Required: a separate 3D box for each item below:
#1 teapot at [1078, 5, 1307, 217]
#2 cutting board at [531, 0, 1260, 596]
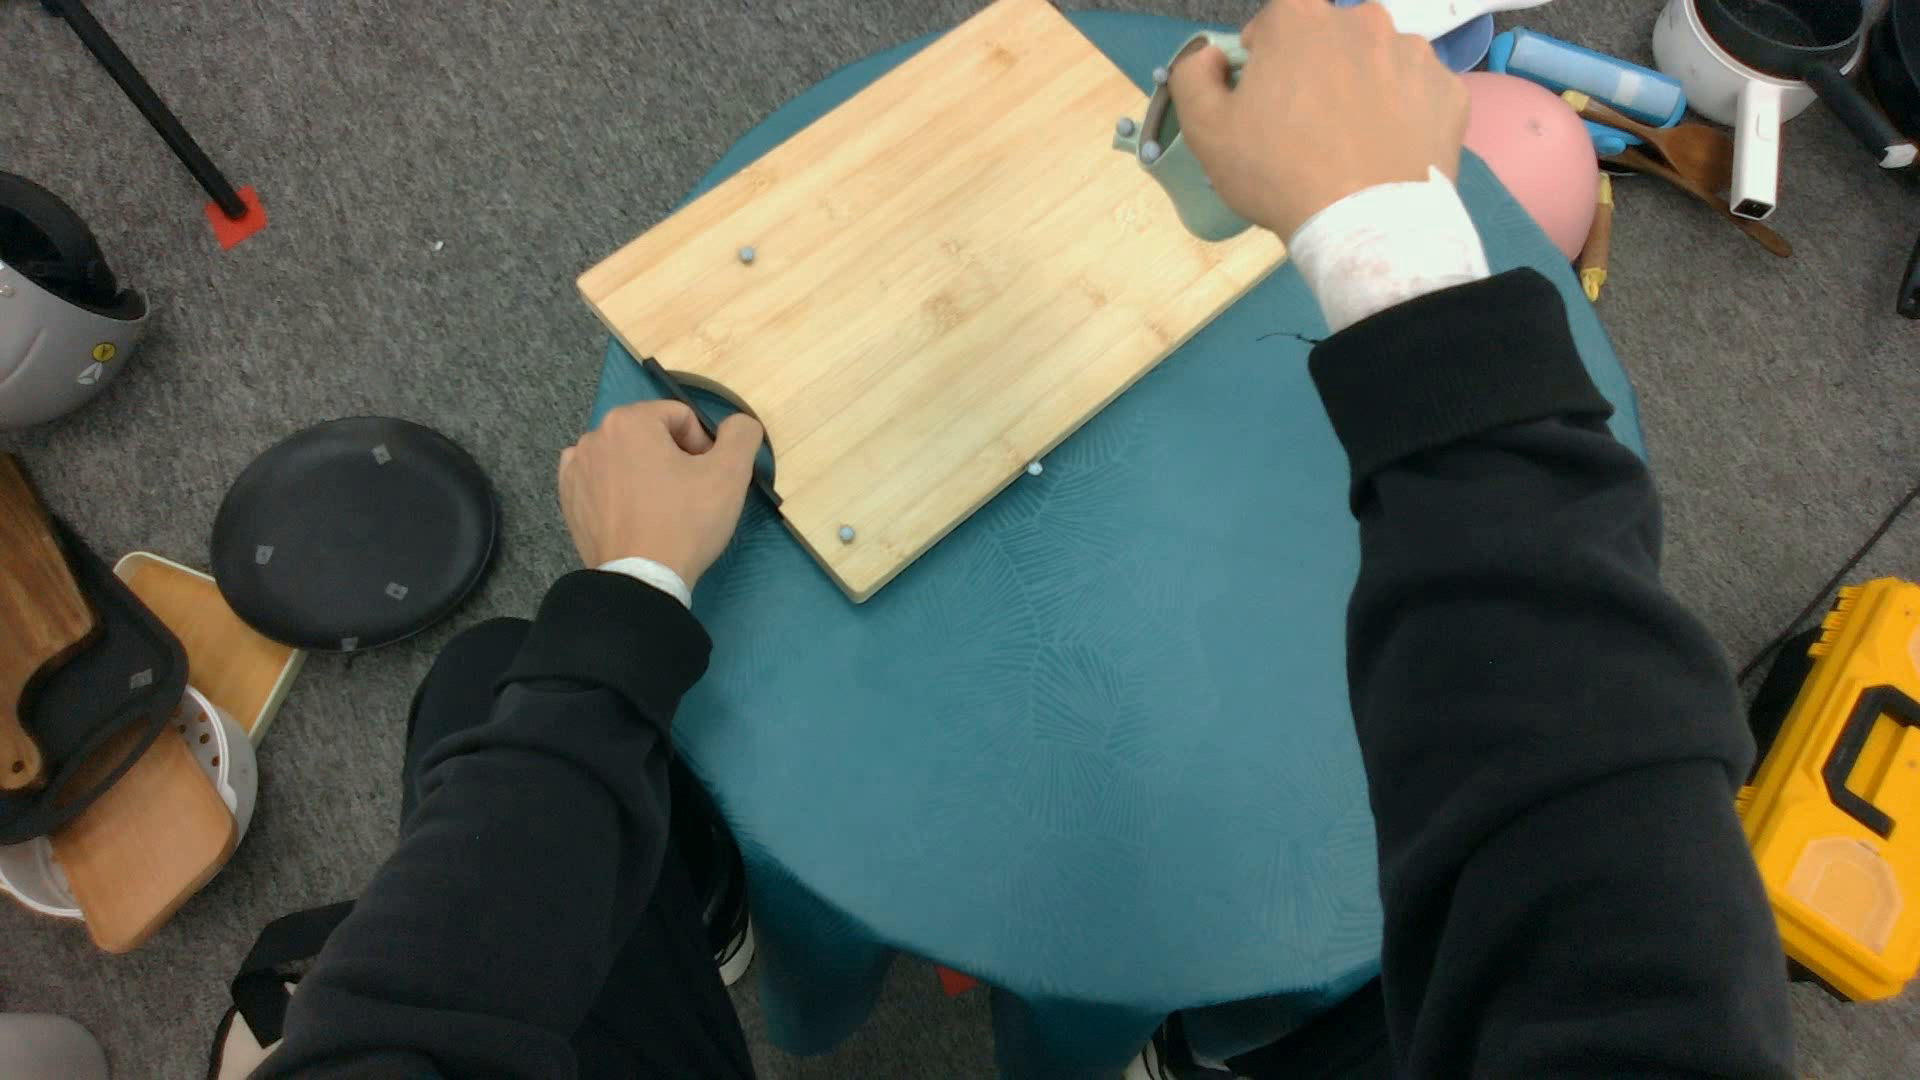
[{"bbox_3d":[0.108,-0.194,0.602,0.061,0.136,0.096,21,82,-22],"label":"teapot"},{"bbox_3d":[-0.027,-0.162,0.788,0.350,0.023,0.251,-41,78,-19],"label":"cutting board"}]
